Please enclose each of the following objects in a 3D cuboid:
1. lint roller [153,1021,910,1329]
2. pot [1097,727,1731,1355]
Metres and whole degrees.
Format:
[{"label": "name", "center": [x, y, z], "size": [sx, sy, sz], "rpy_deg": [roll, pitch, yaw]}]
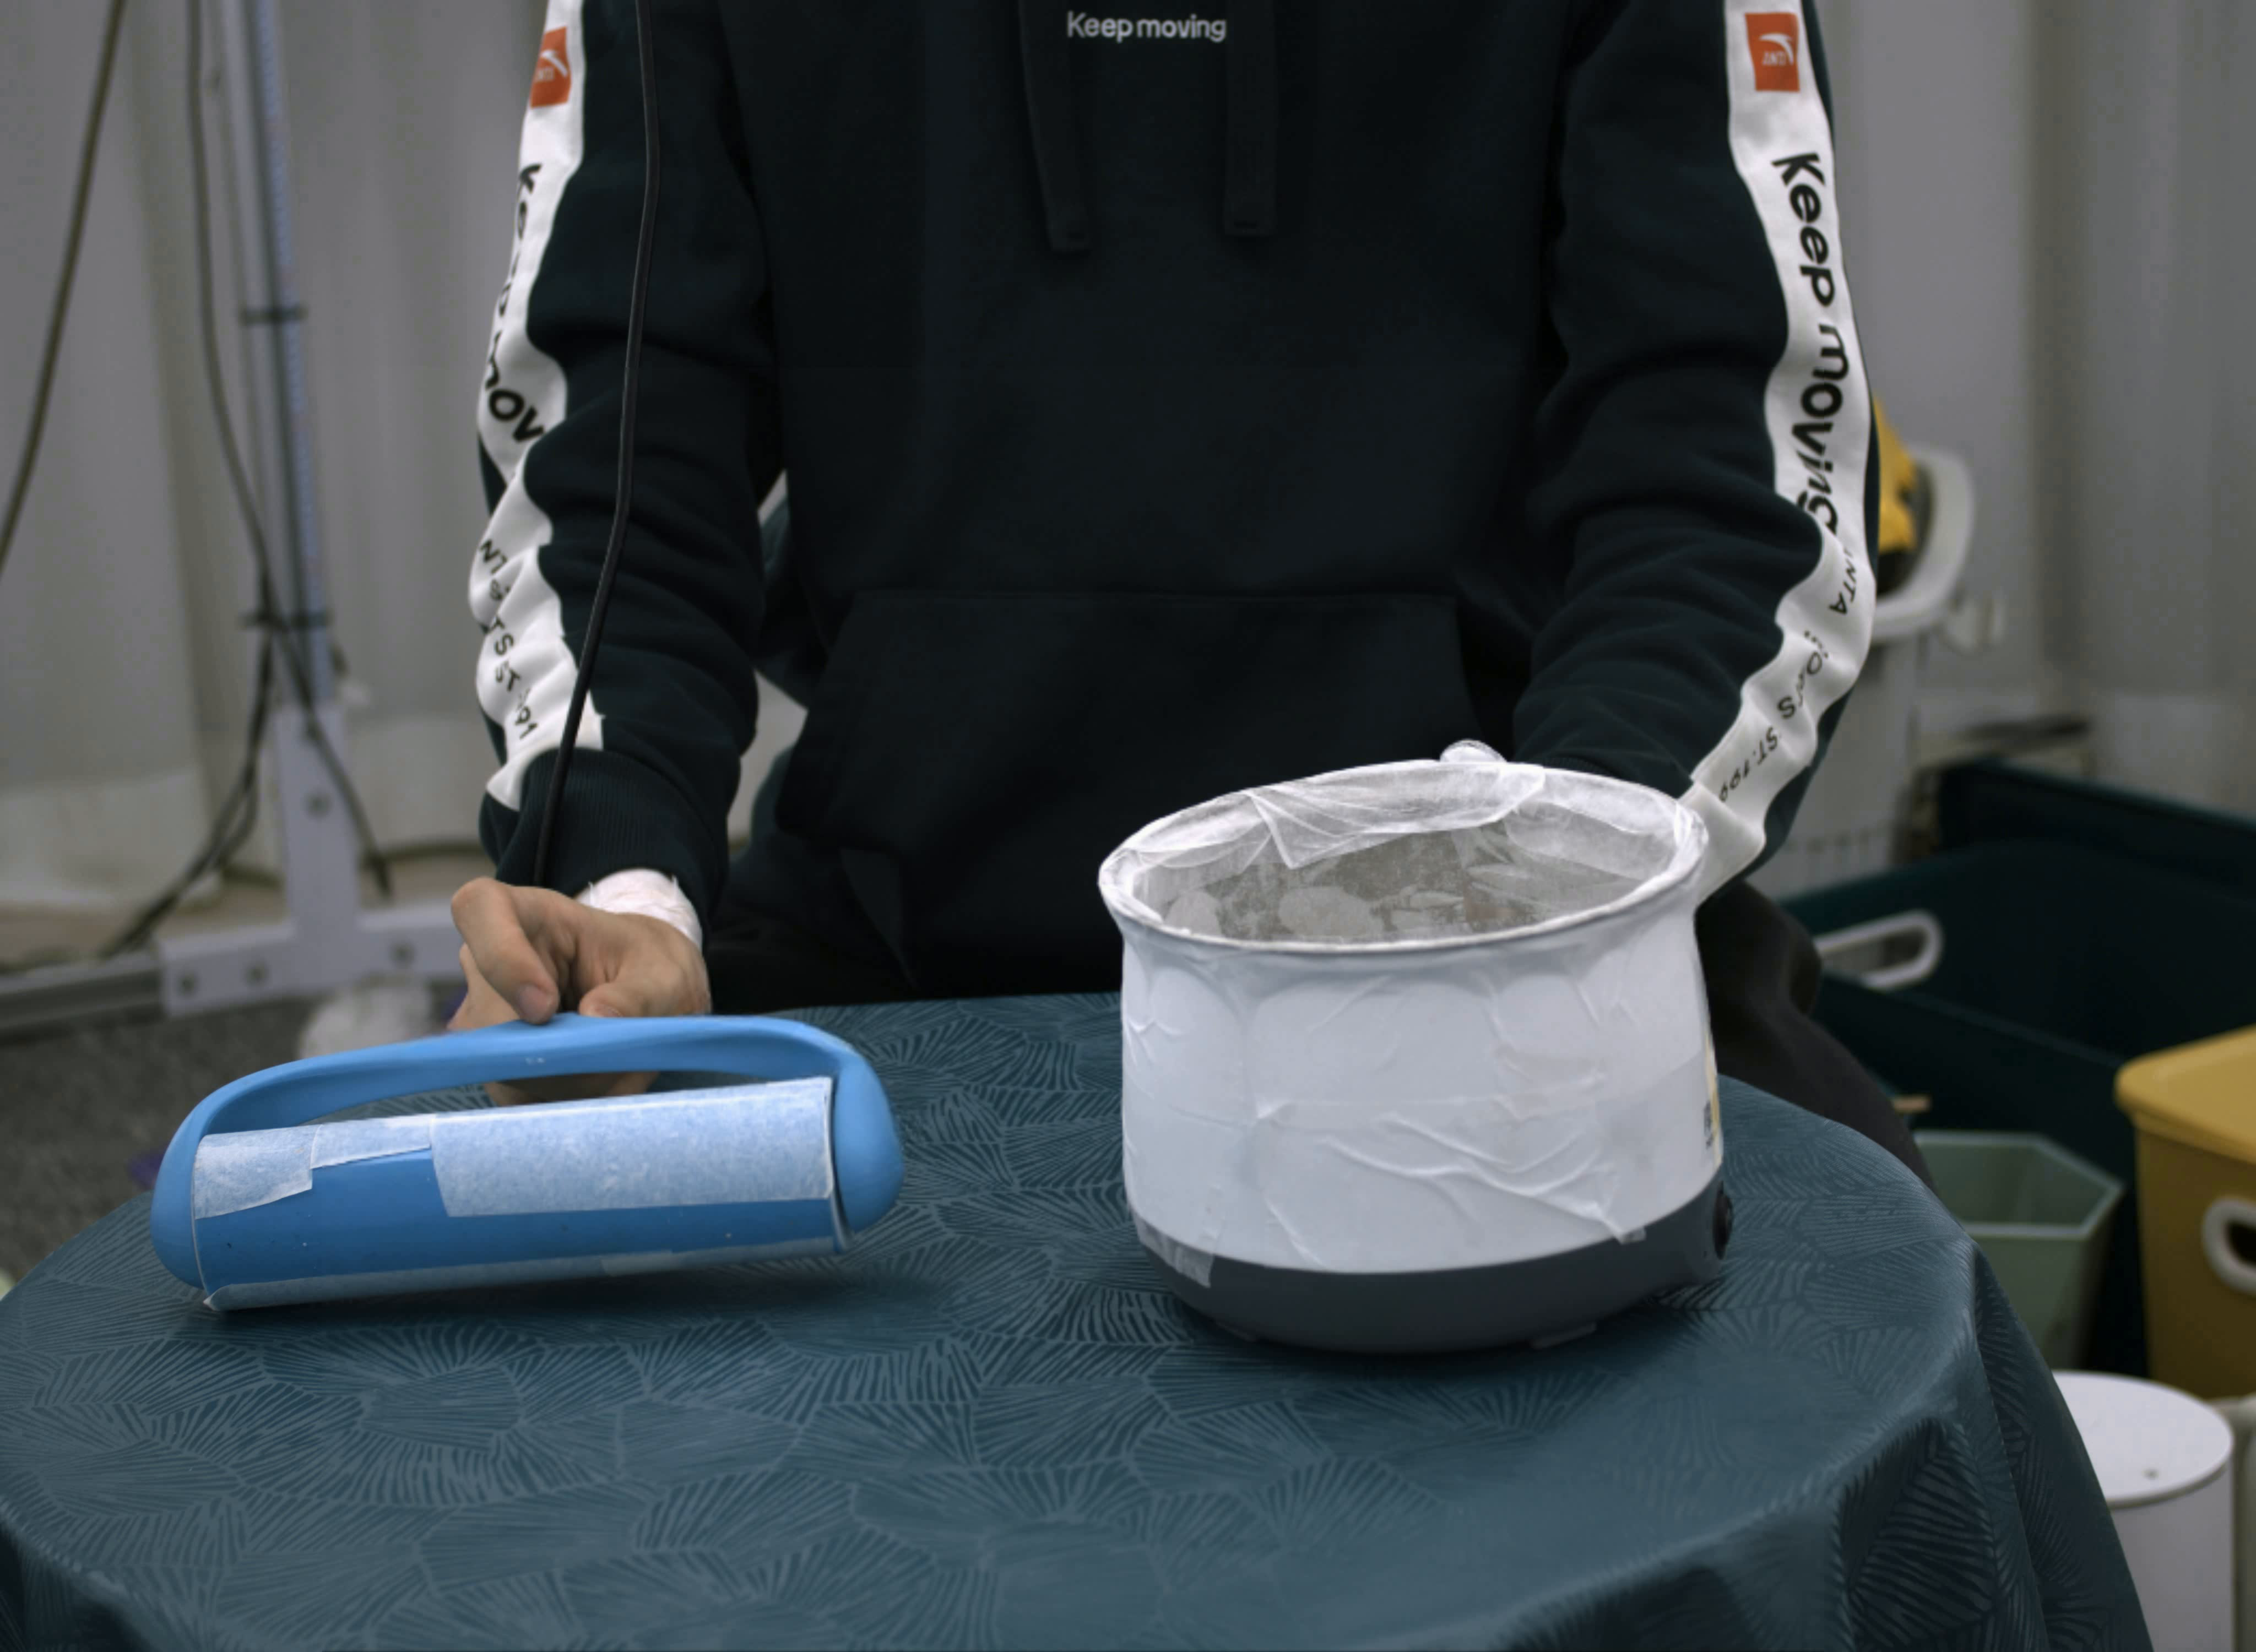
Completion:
[{"label": "lint roller", "center": [-0.180, 0.093, 1.692], "size": [0.228, 0.067, 0.182], "rpy_deg": [-9, 18, 1]}, {"label": "pot", "center": [0.091, 0.058, 1.622], "size": [0.178, 0.136, 0.235], "rpy_deg": [-1, 18, 14]}]
